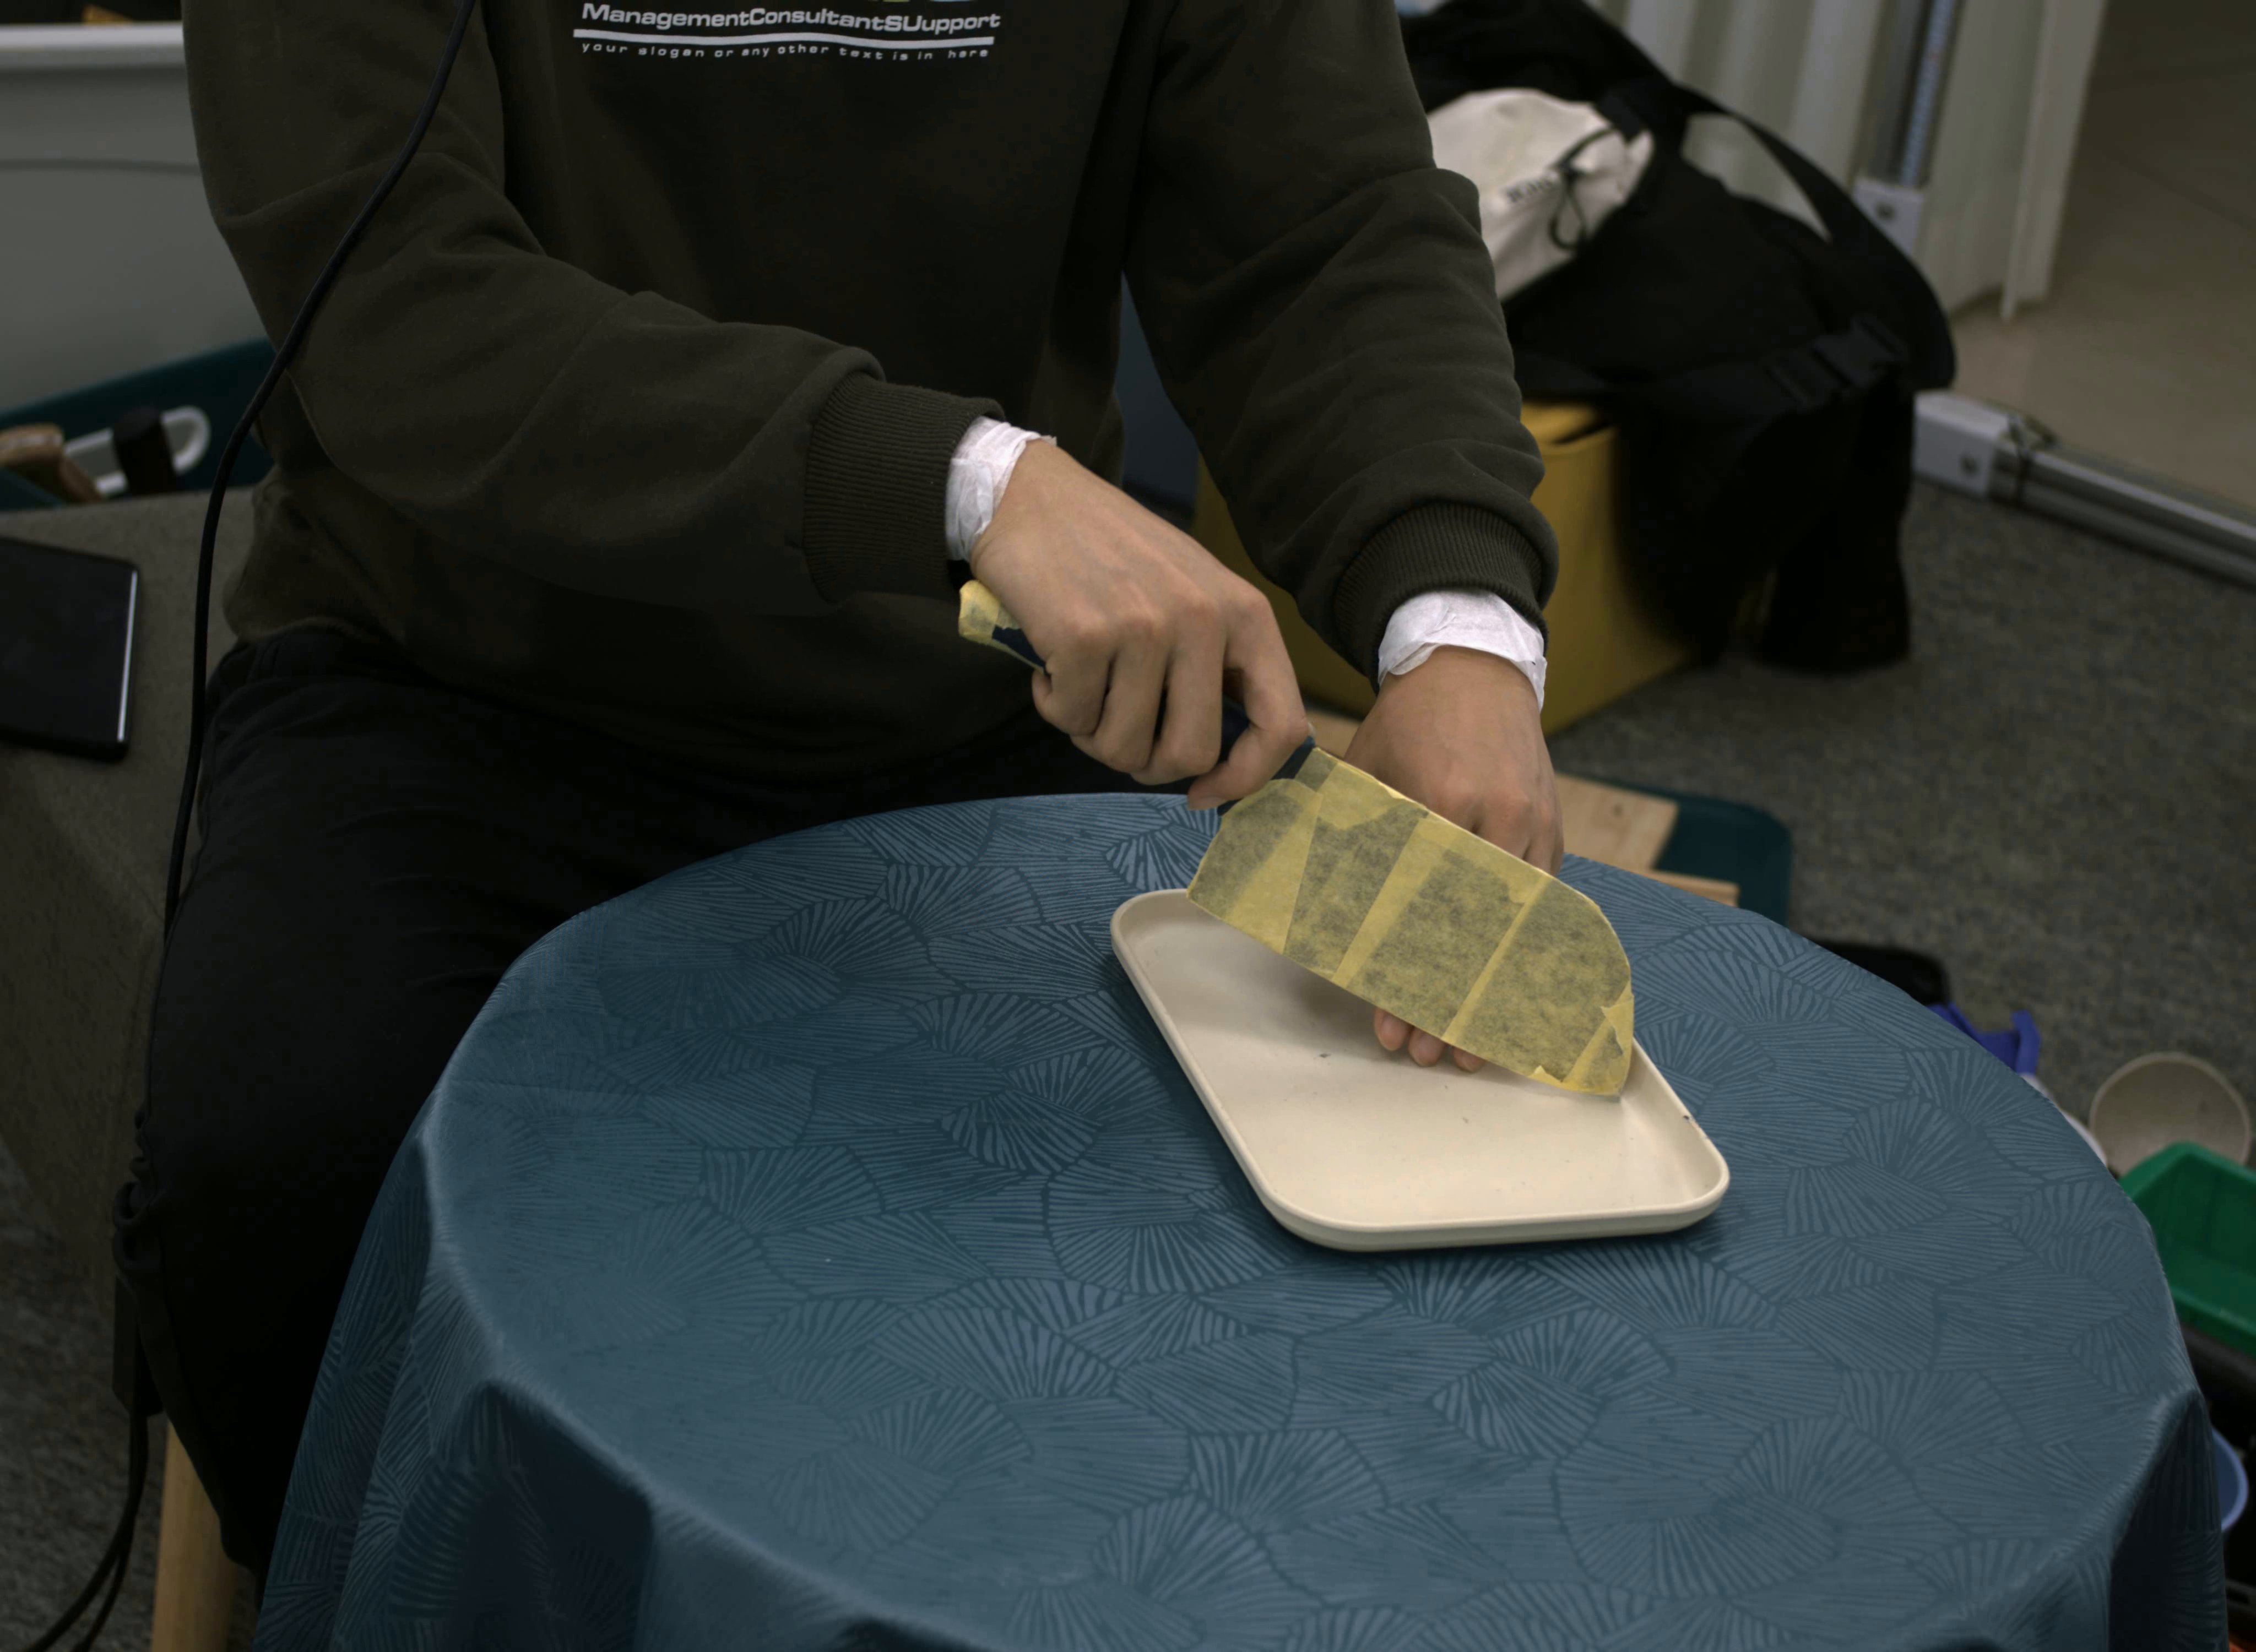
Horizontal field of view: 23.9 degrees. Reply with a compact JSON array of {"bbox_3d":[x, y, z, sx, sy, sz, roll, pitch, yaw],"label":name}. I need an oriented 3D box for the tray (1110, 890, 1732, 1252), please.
[{"bbox_3d":[0.100,0.083,1.888,0.170,0.017,0.242,-3,28,-17],"label":"tray"}]

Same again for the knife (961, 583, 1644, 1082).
[{"bbox_3d":[0.059,0.004,1.875,0.289,0.081,0.027,32,13,-2],"label":"knife"}]
